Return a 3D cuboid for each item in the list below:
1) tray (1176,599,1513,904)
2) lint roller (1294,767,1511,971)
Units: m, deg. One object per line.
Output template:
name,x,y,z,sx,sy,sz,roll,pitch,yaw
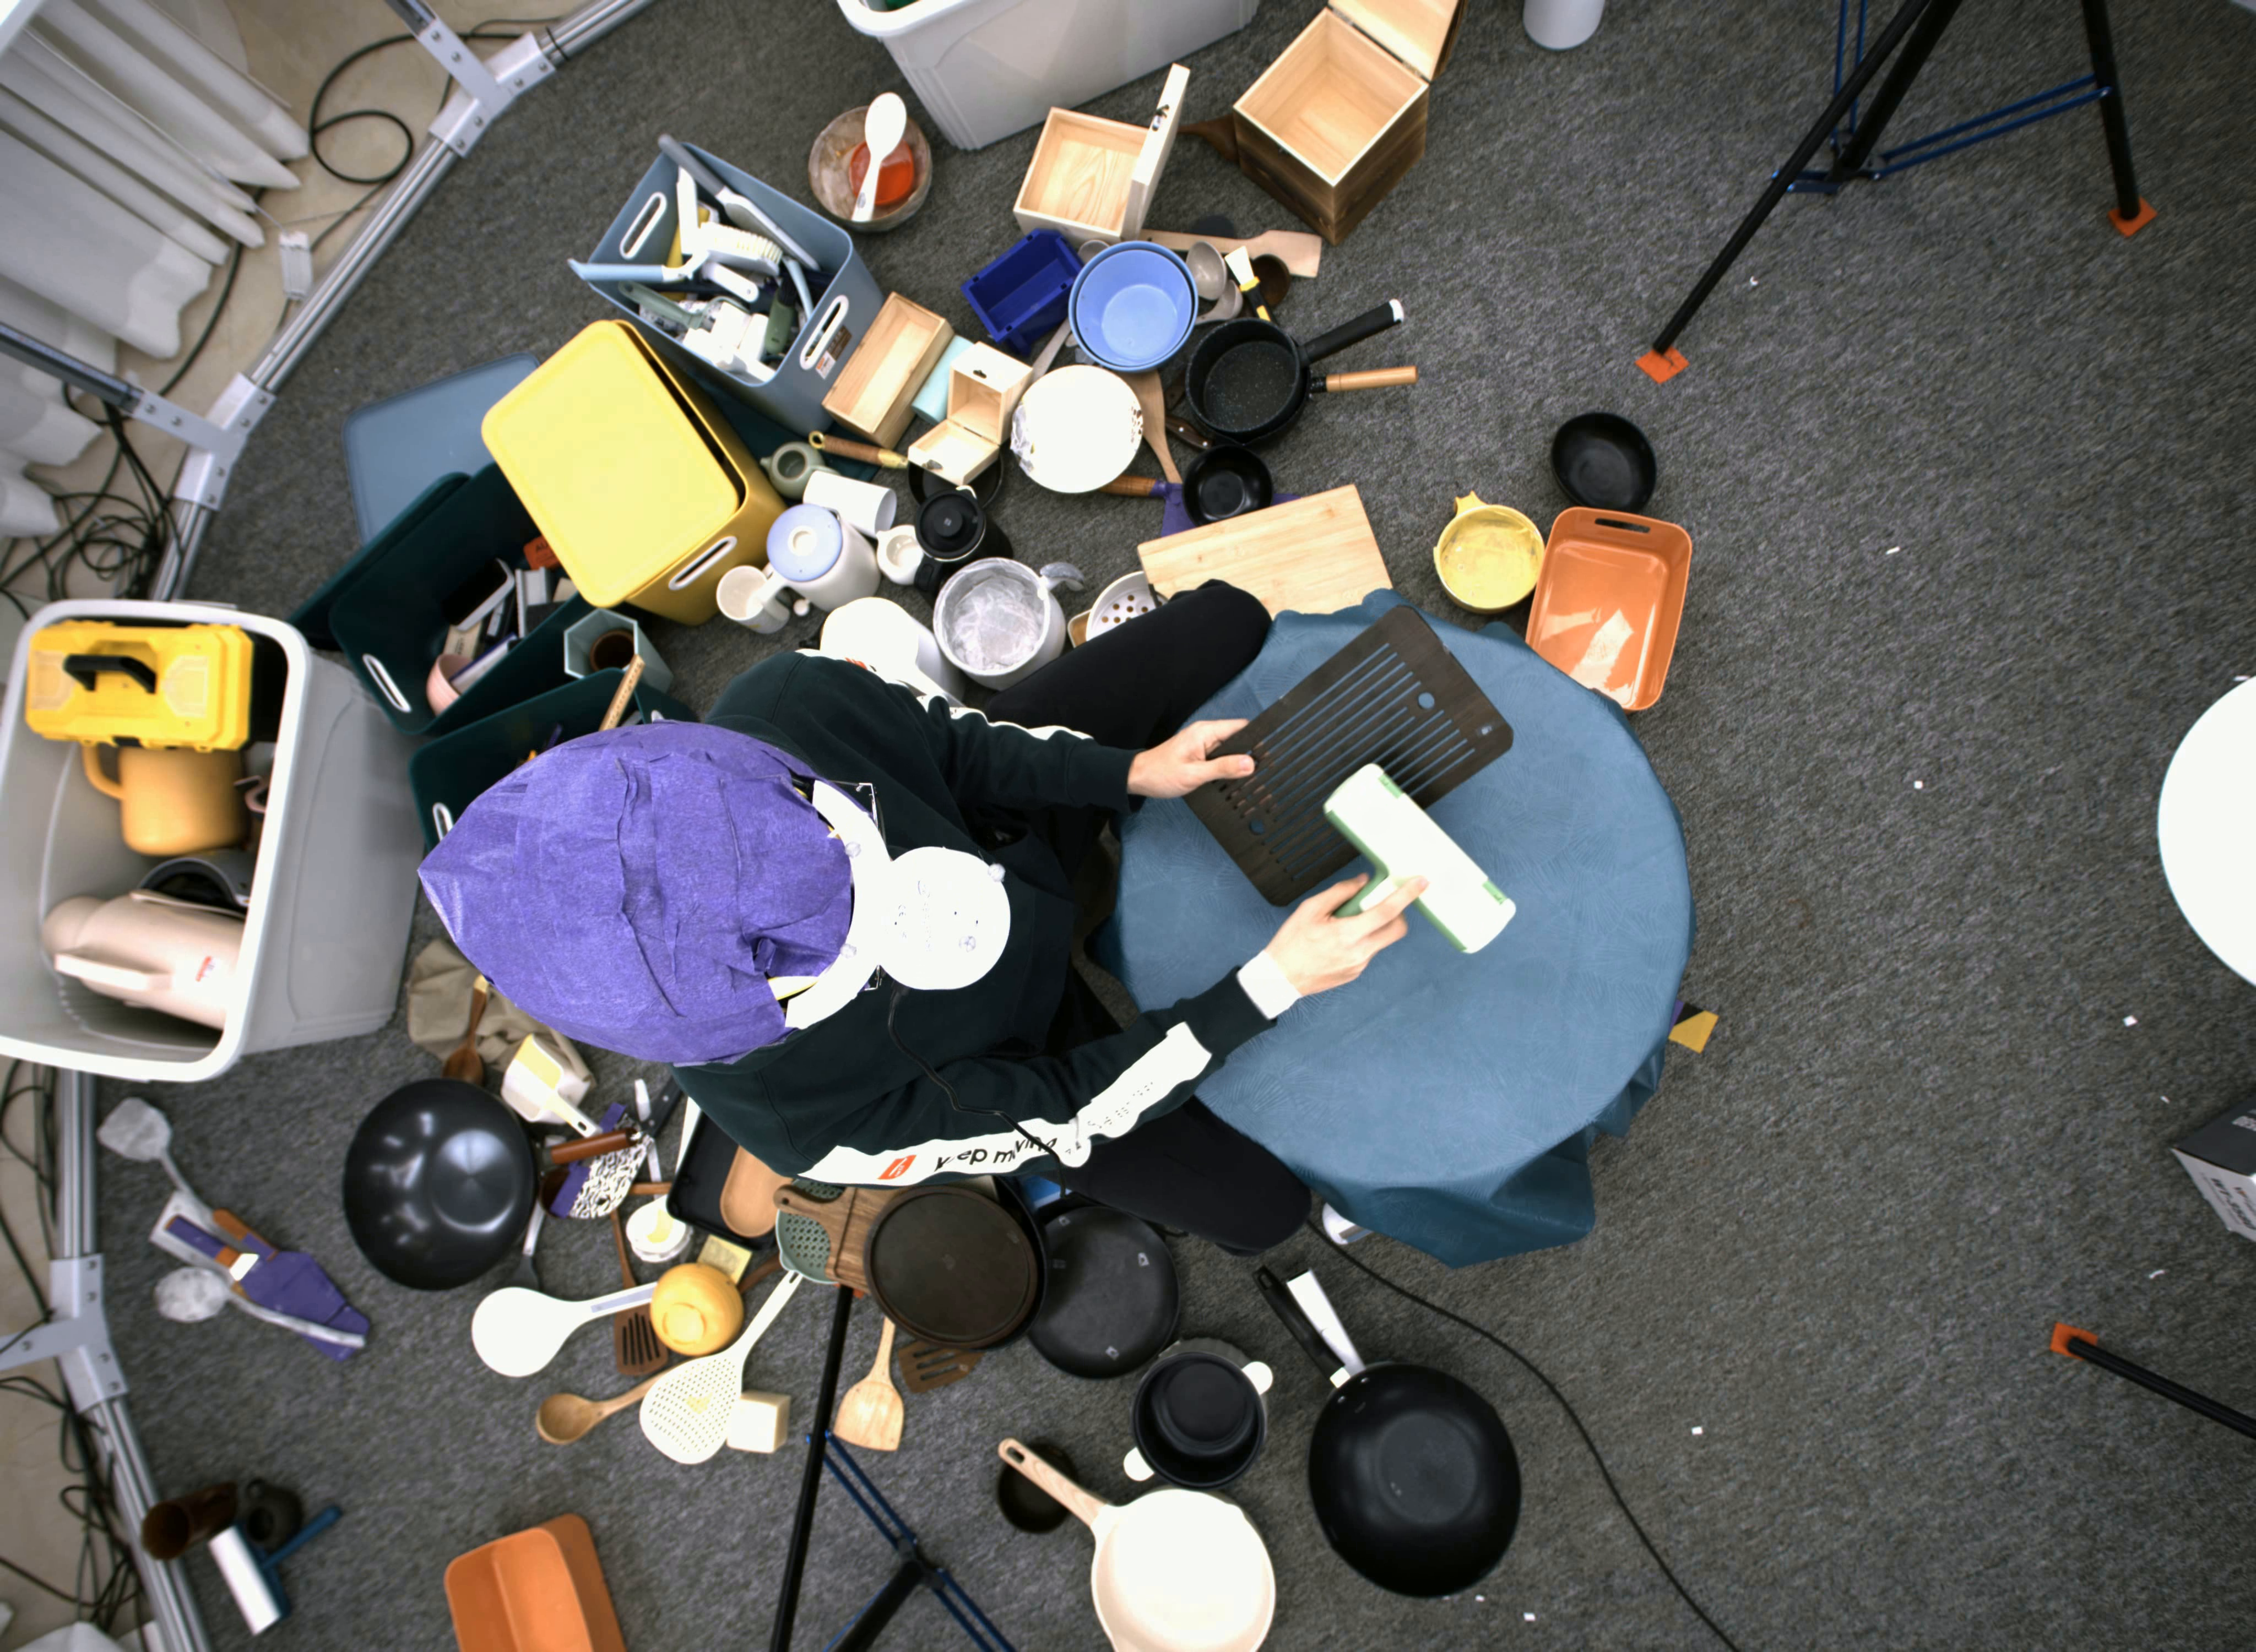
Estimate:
tray,0.202,-0.066,1.326,0.312,0.018,0.170,-39,95,31
lint roller,0.223,0.073,1.279,0.184,0.081,0.198,-45,91,9
